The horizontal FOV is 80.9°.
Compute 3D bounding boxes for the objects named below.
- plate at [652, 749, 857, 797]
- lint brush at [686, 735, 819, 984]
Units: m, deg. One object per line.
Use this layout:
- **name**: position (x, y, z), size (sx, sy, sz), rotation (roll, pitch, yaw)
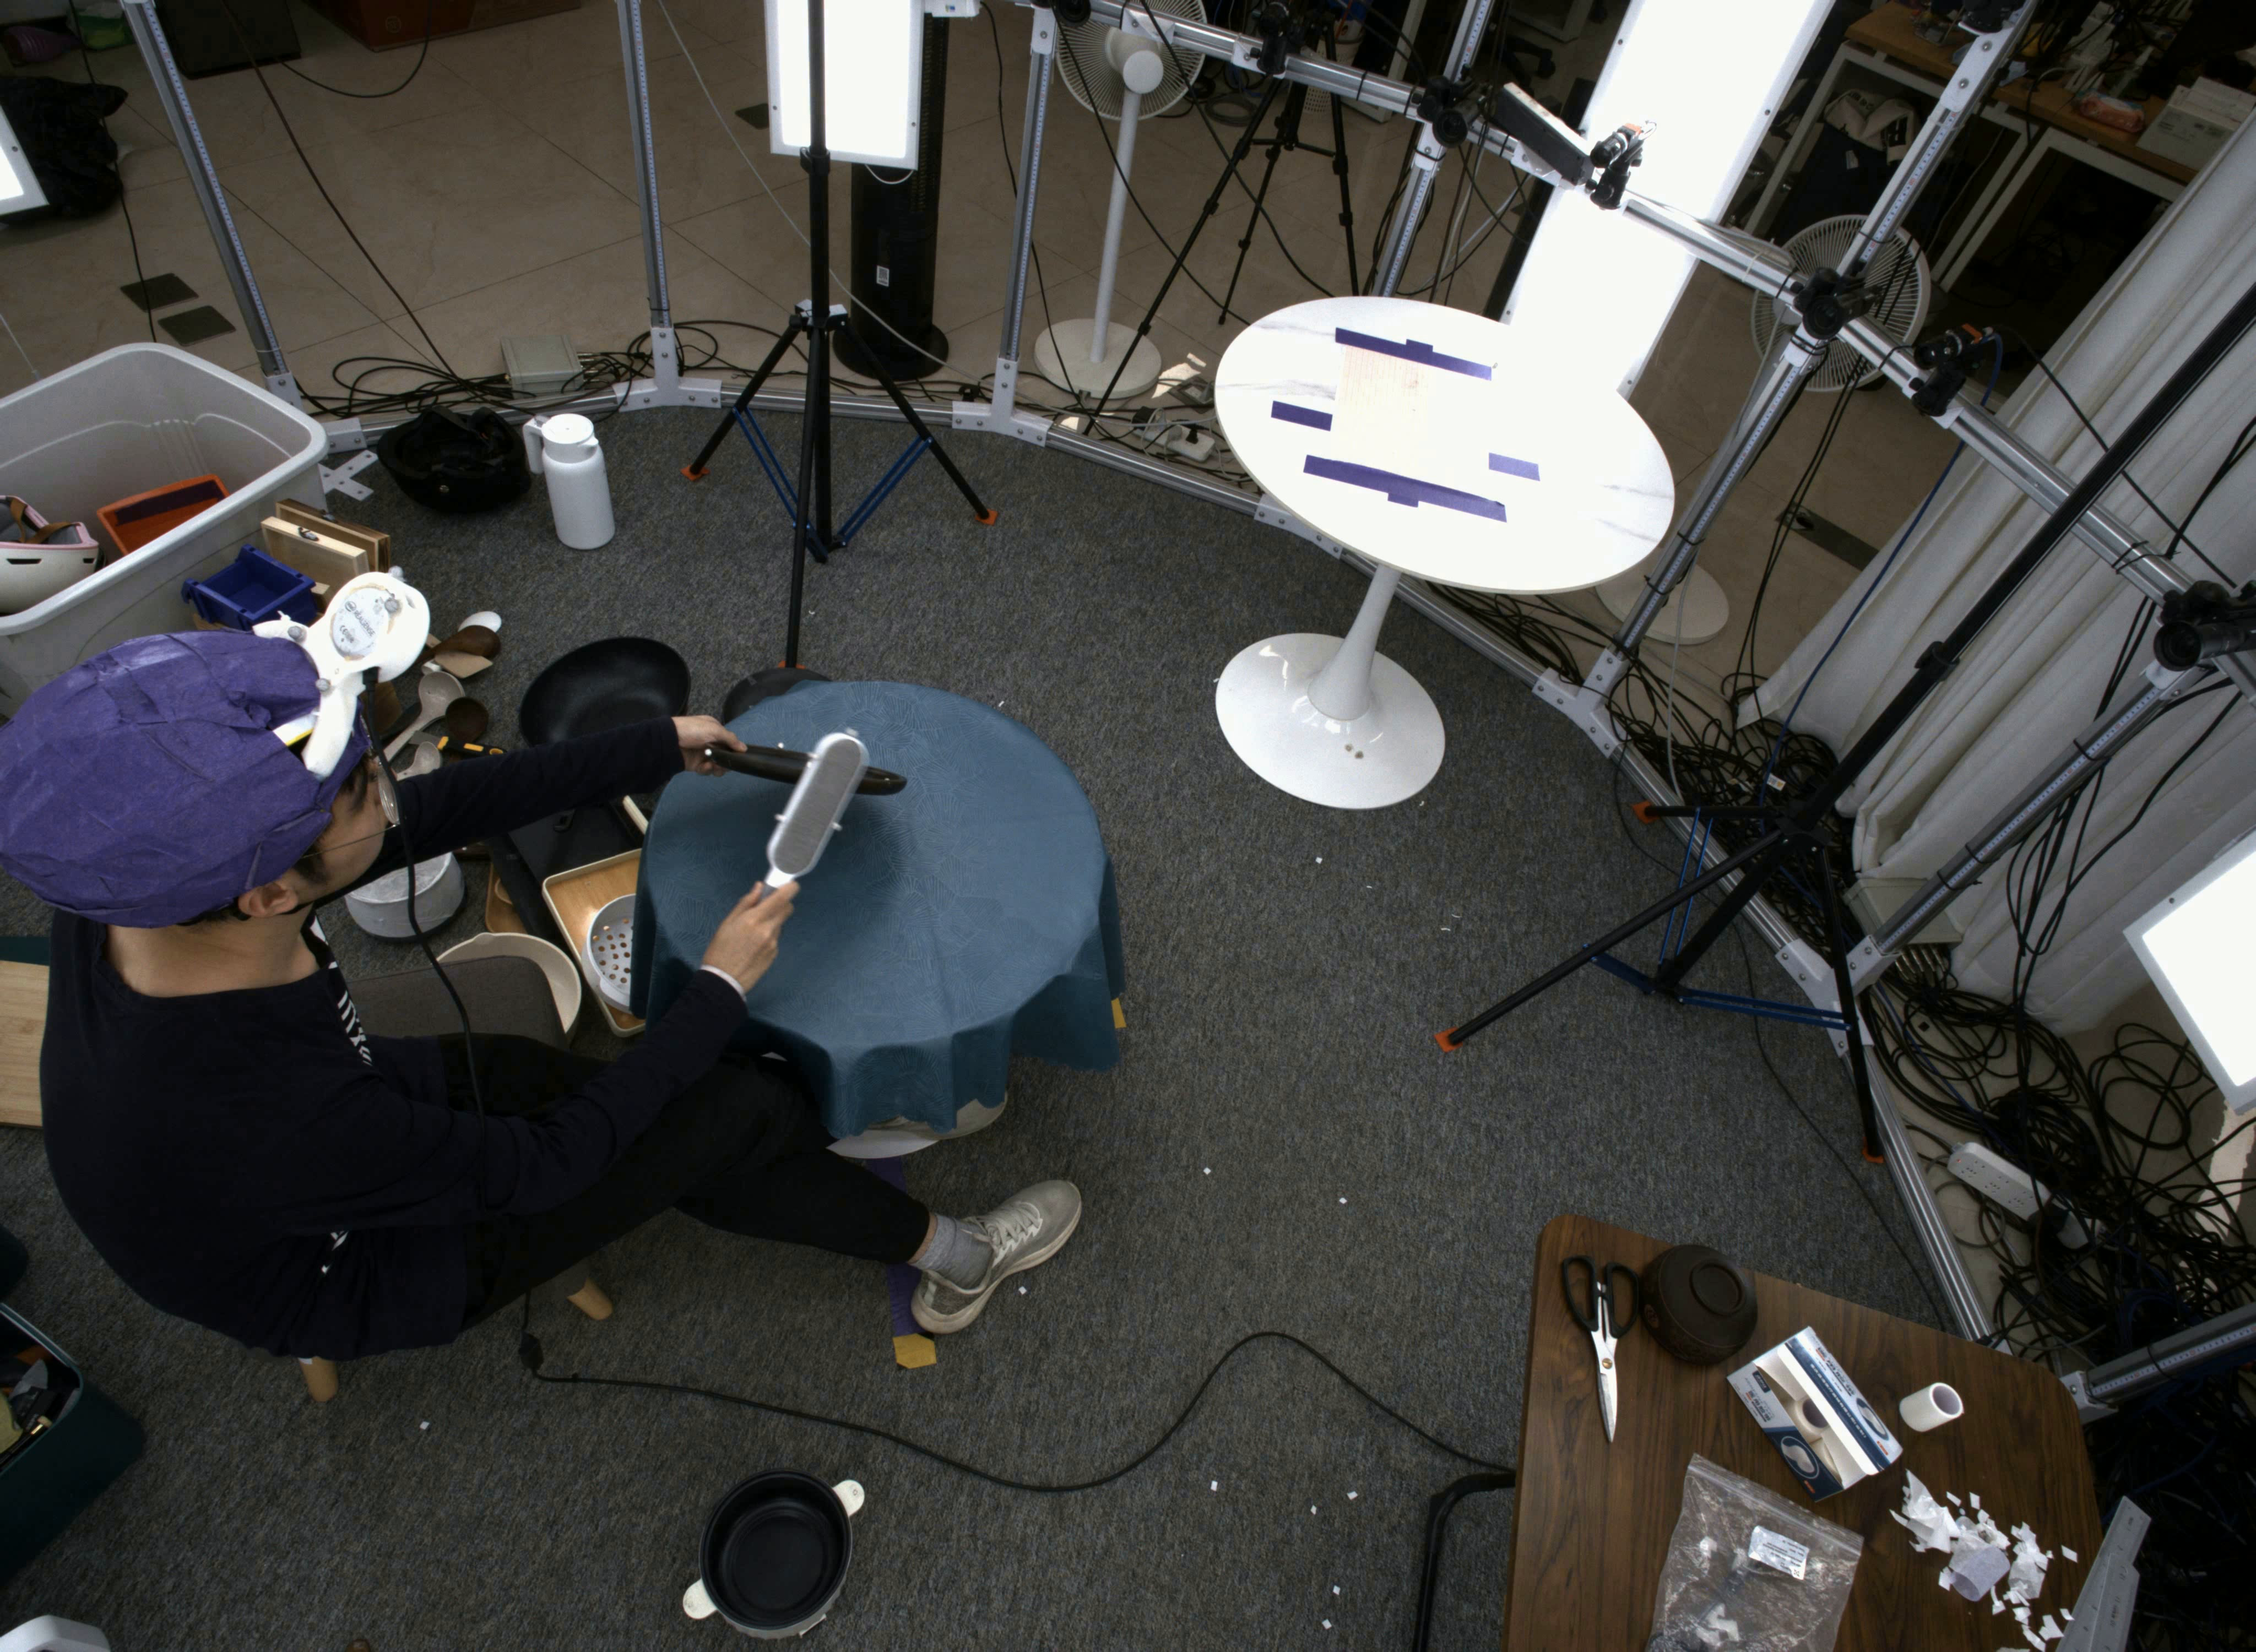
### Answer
- **plate**: position (-0.468, -0.068, 1.620), size (0.254, 0.252, 0.029), rotation (8, 93, -7)
- **lint brush**: position (-0.438, 0.039, 1.486), size (0.062, 0.311, 0.020), rotation (23, 5, -40)
